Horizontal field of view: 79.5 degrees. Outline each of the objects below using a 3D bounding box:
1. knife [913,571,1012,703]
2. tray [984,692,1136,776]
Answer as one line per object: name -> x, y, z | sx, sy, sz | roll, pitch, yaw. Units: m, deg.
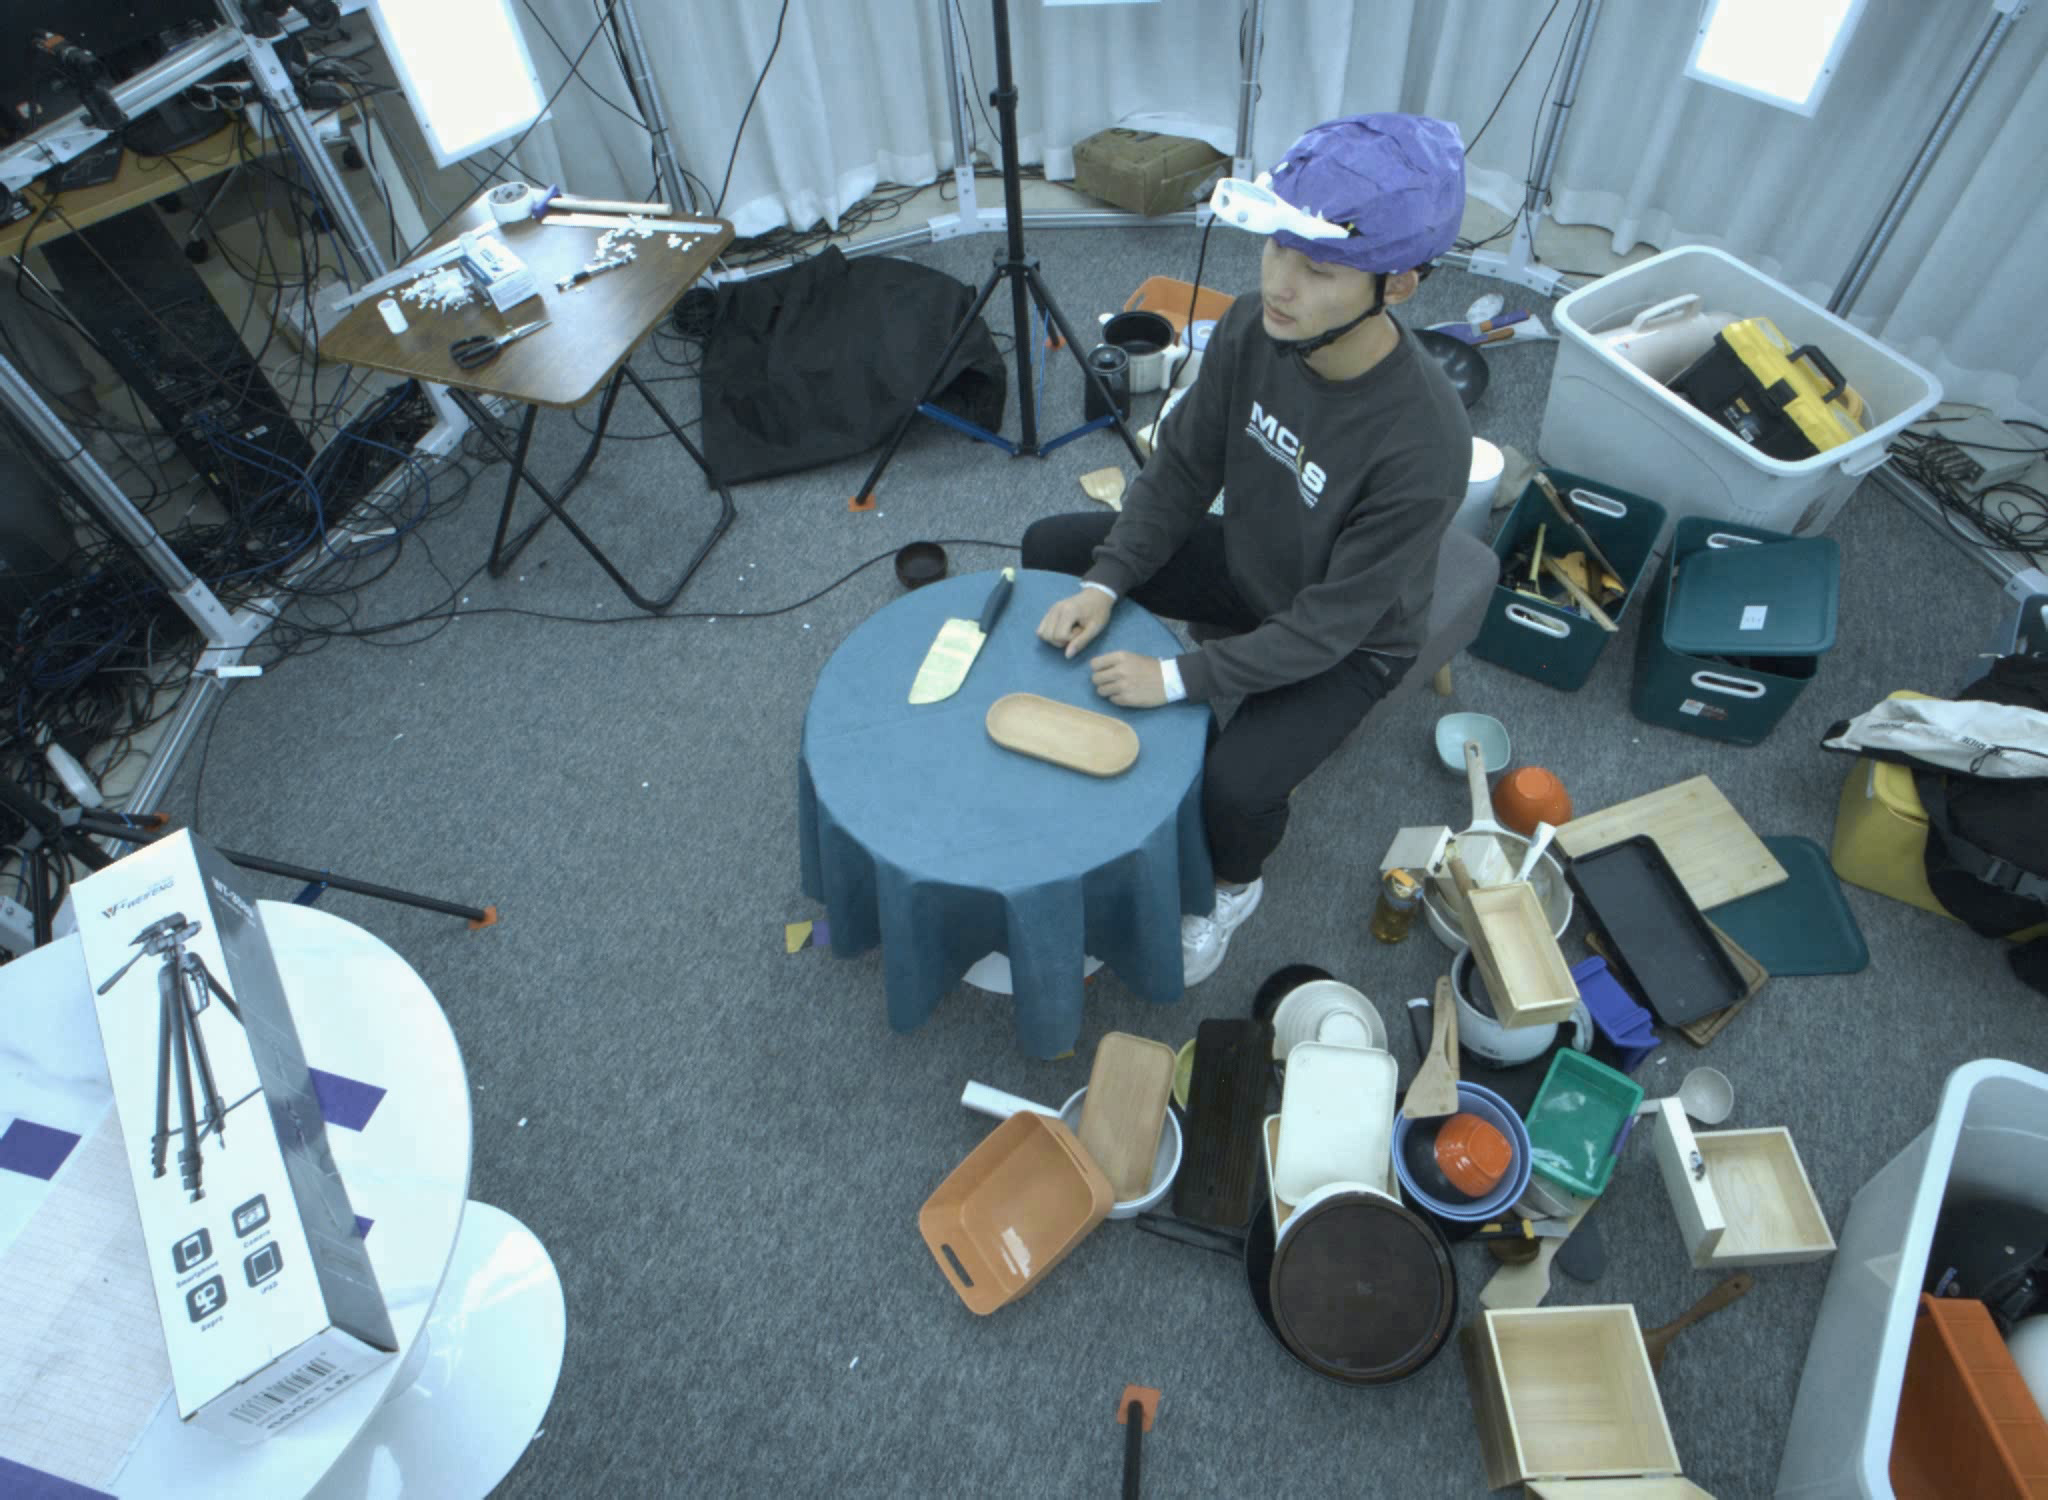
knife -> -0.094, -0.179, 1.917 | 0.080, 0.027, 0.289 | 21, 58, 14
tray -> 0.051, -0.023, 1.800 | 0.228, 0.020, 0.101 | 16, 55, 14
